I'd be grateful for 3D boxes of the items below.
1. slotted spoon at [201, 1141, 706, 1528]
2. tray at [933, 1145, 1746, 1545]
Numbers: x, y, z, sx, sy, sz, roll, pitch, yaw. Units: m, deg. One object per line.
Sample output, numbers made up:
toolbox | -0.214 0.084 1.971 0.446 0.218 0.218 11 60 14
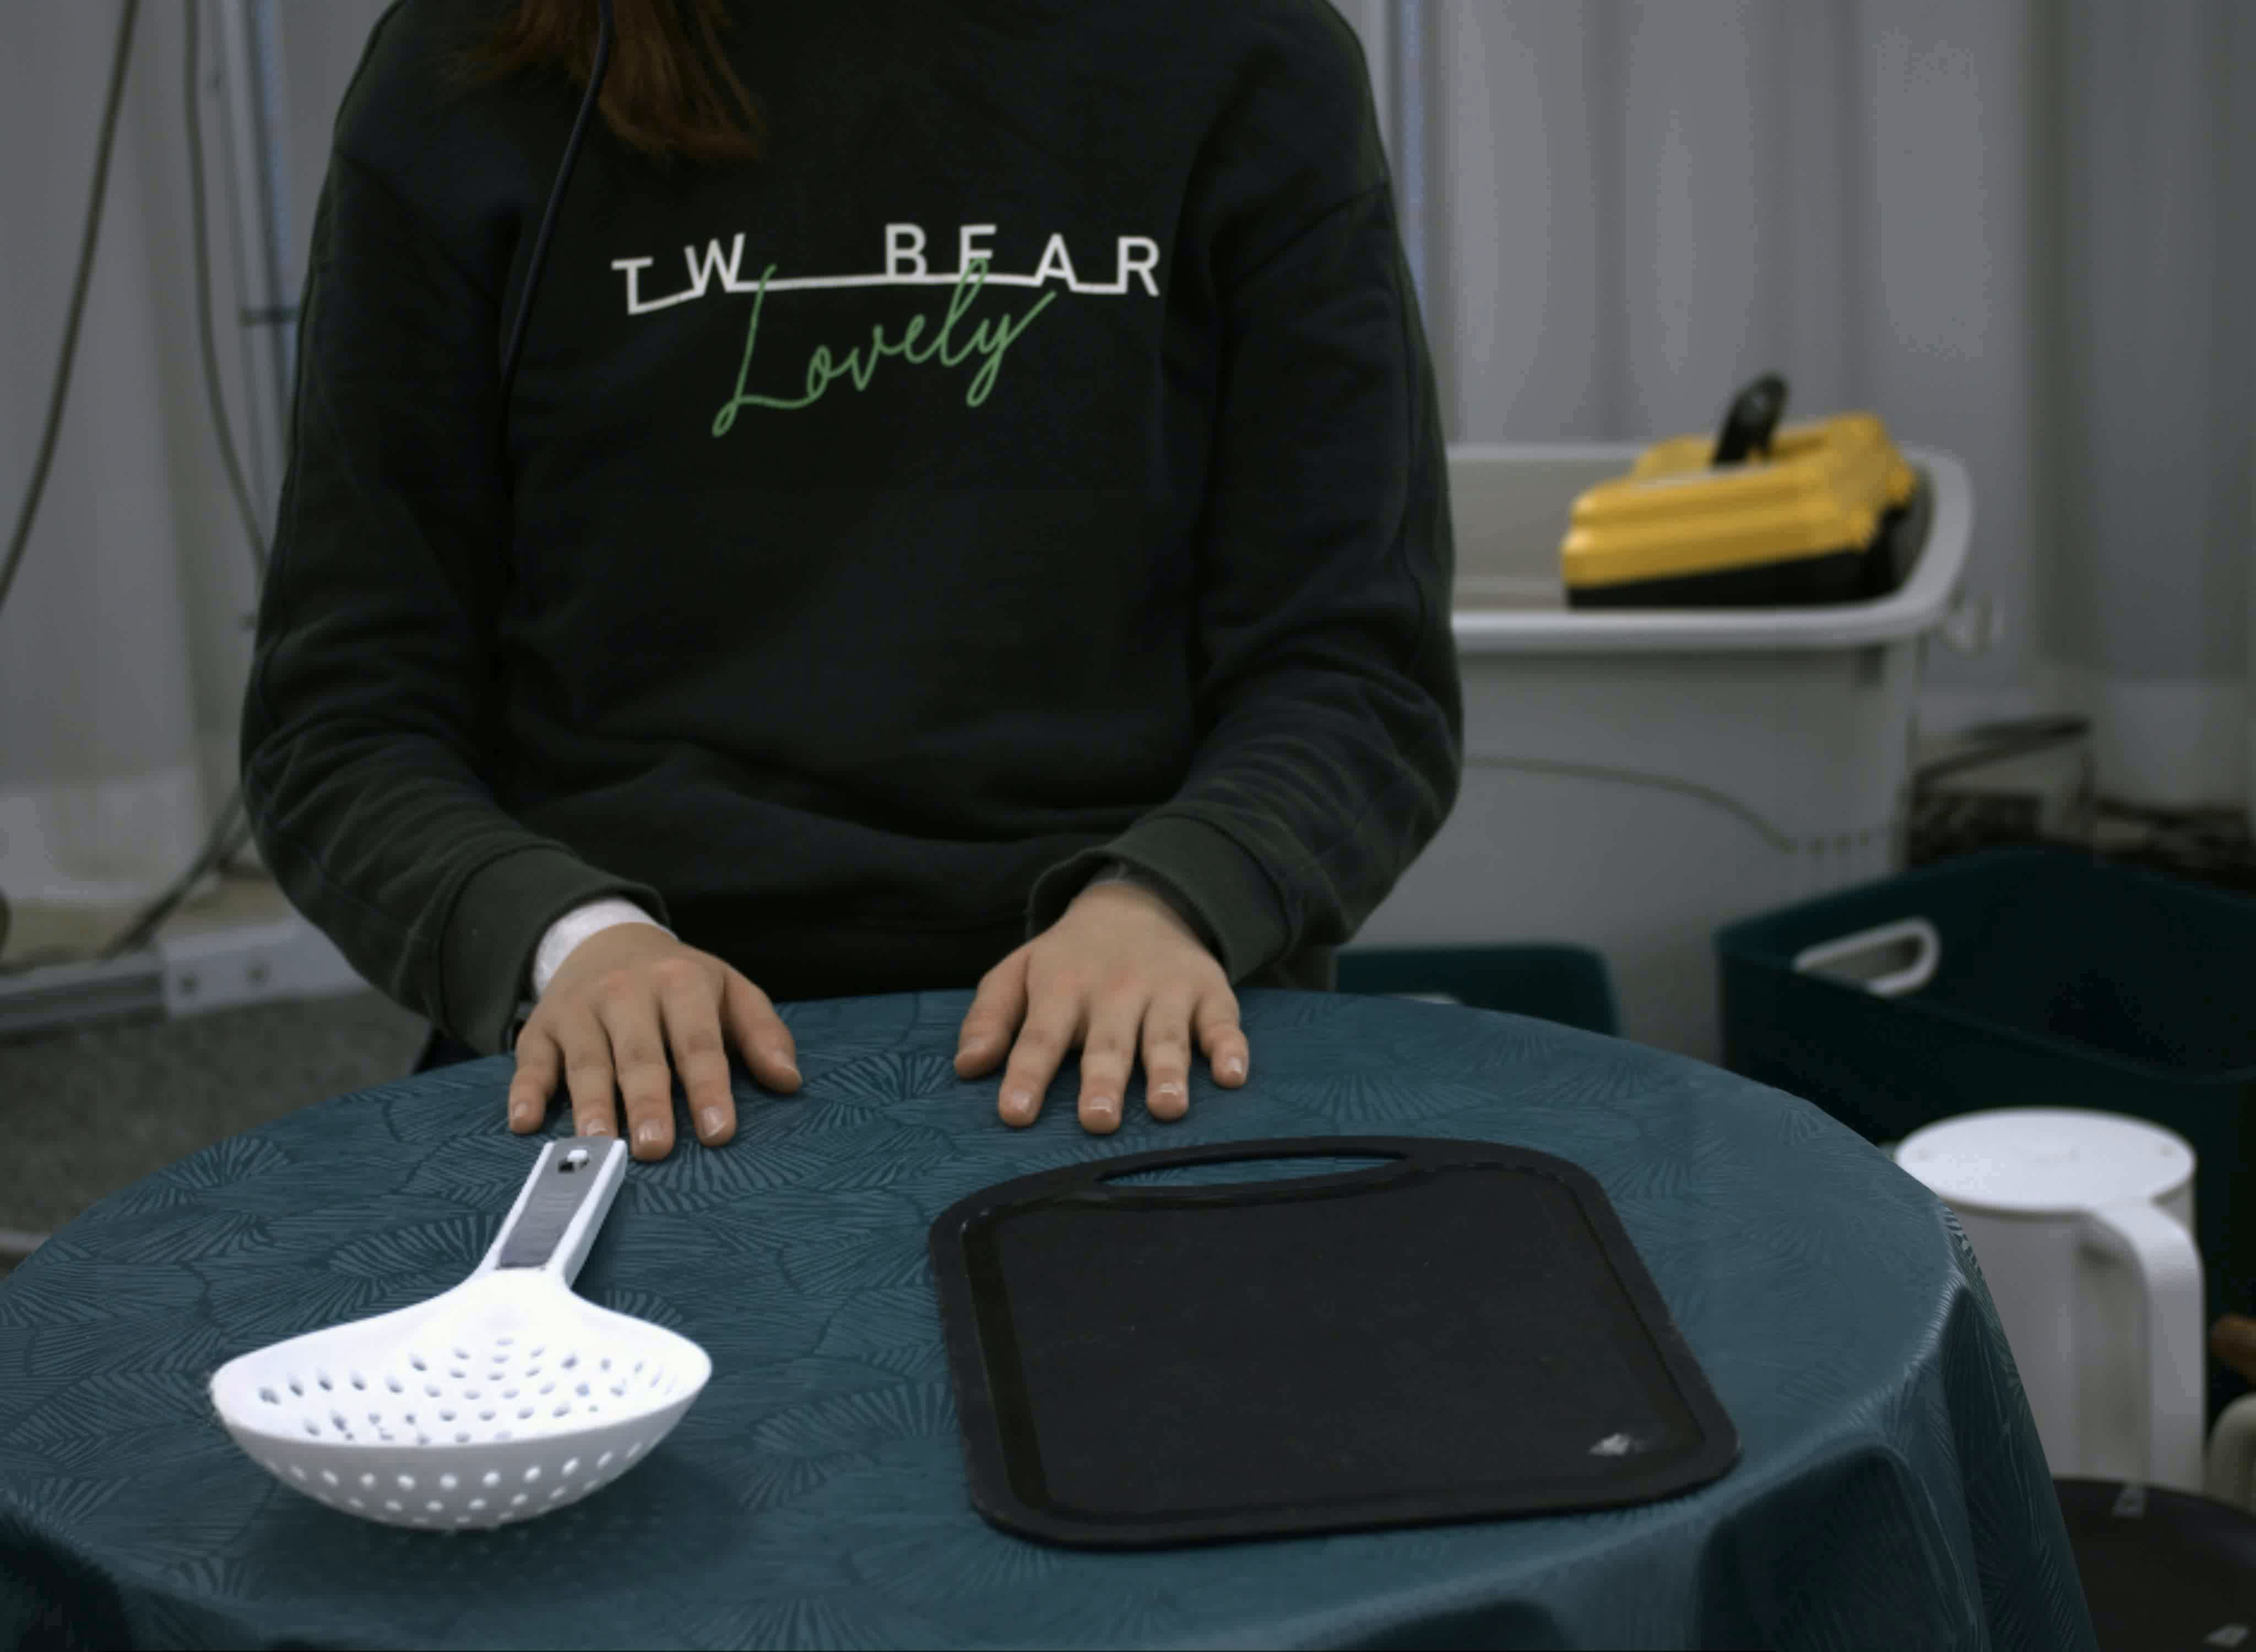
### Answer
slotted spoon | -0.177 0.137 1.577 0.135 0.045 0.352 0 14 2
tray | 0.052 0.143 1.586 0.210 0.010 0.328 -4 15 -4
